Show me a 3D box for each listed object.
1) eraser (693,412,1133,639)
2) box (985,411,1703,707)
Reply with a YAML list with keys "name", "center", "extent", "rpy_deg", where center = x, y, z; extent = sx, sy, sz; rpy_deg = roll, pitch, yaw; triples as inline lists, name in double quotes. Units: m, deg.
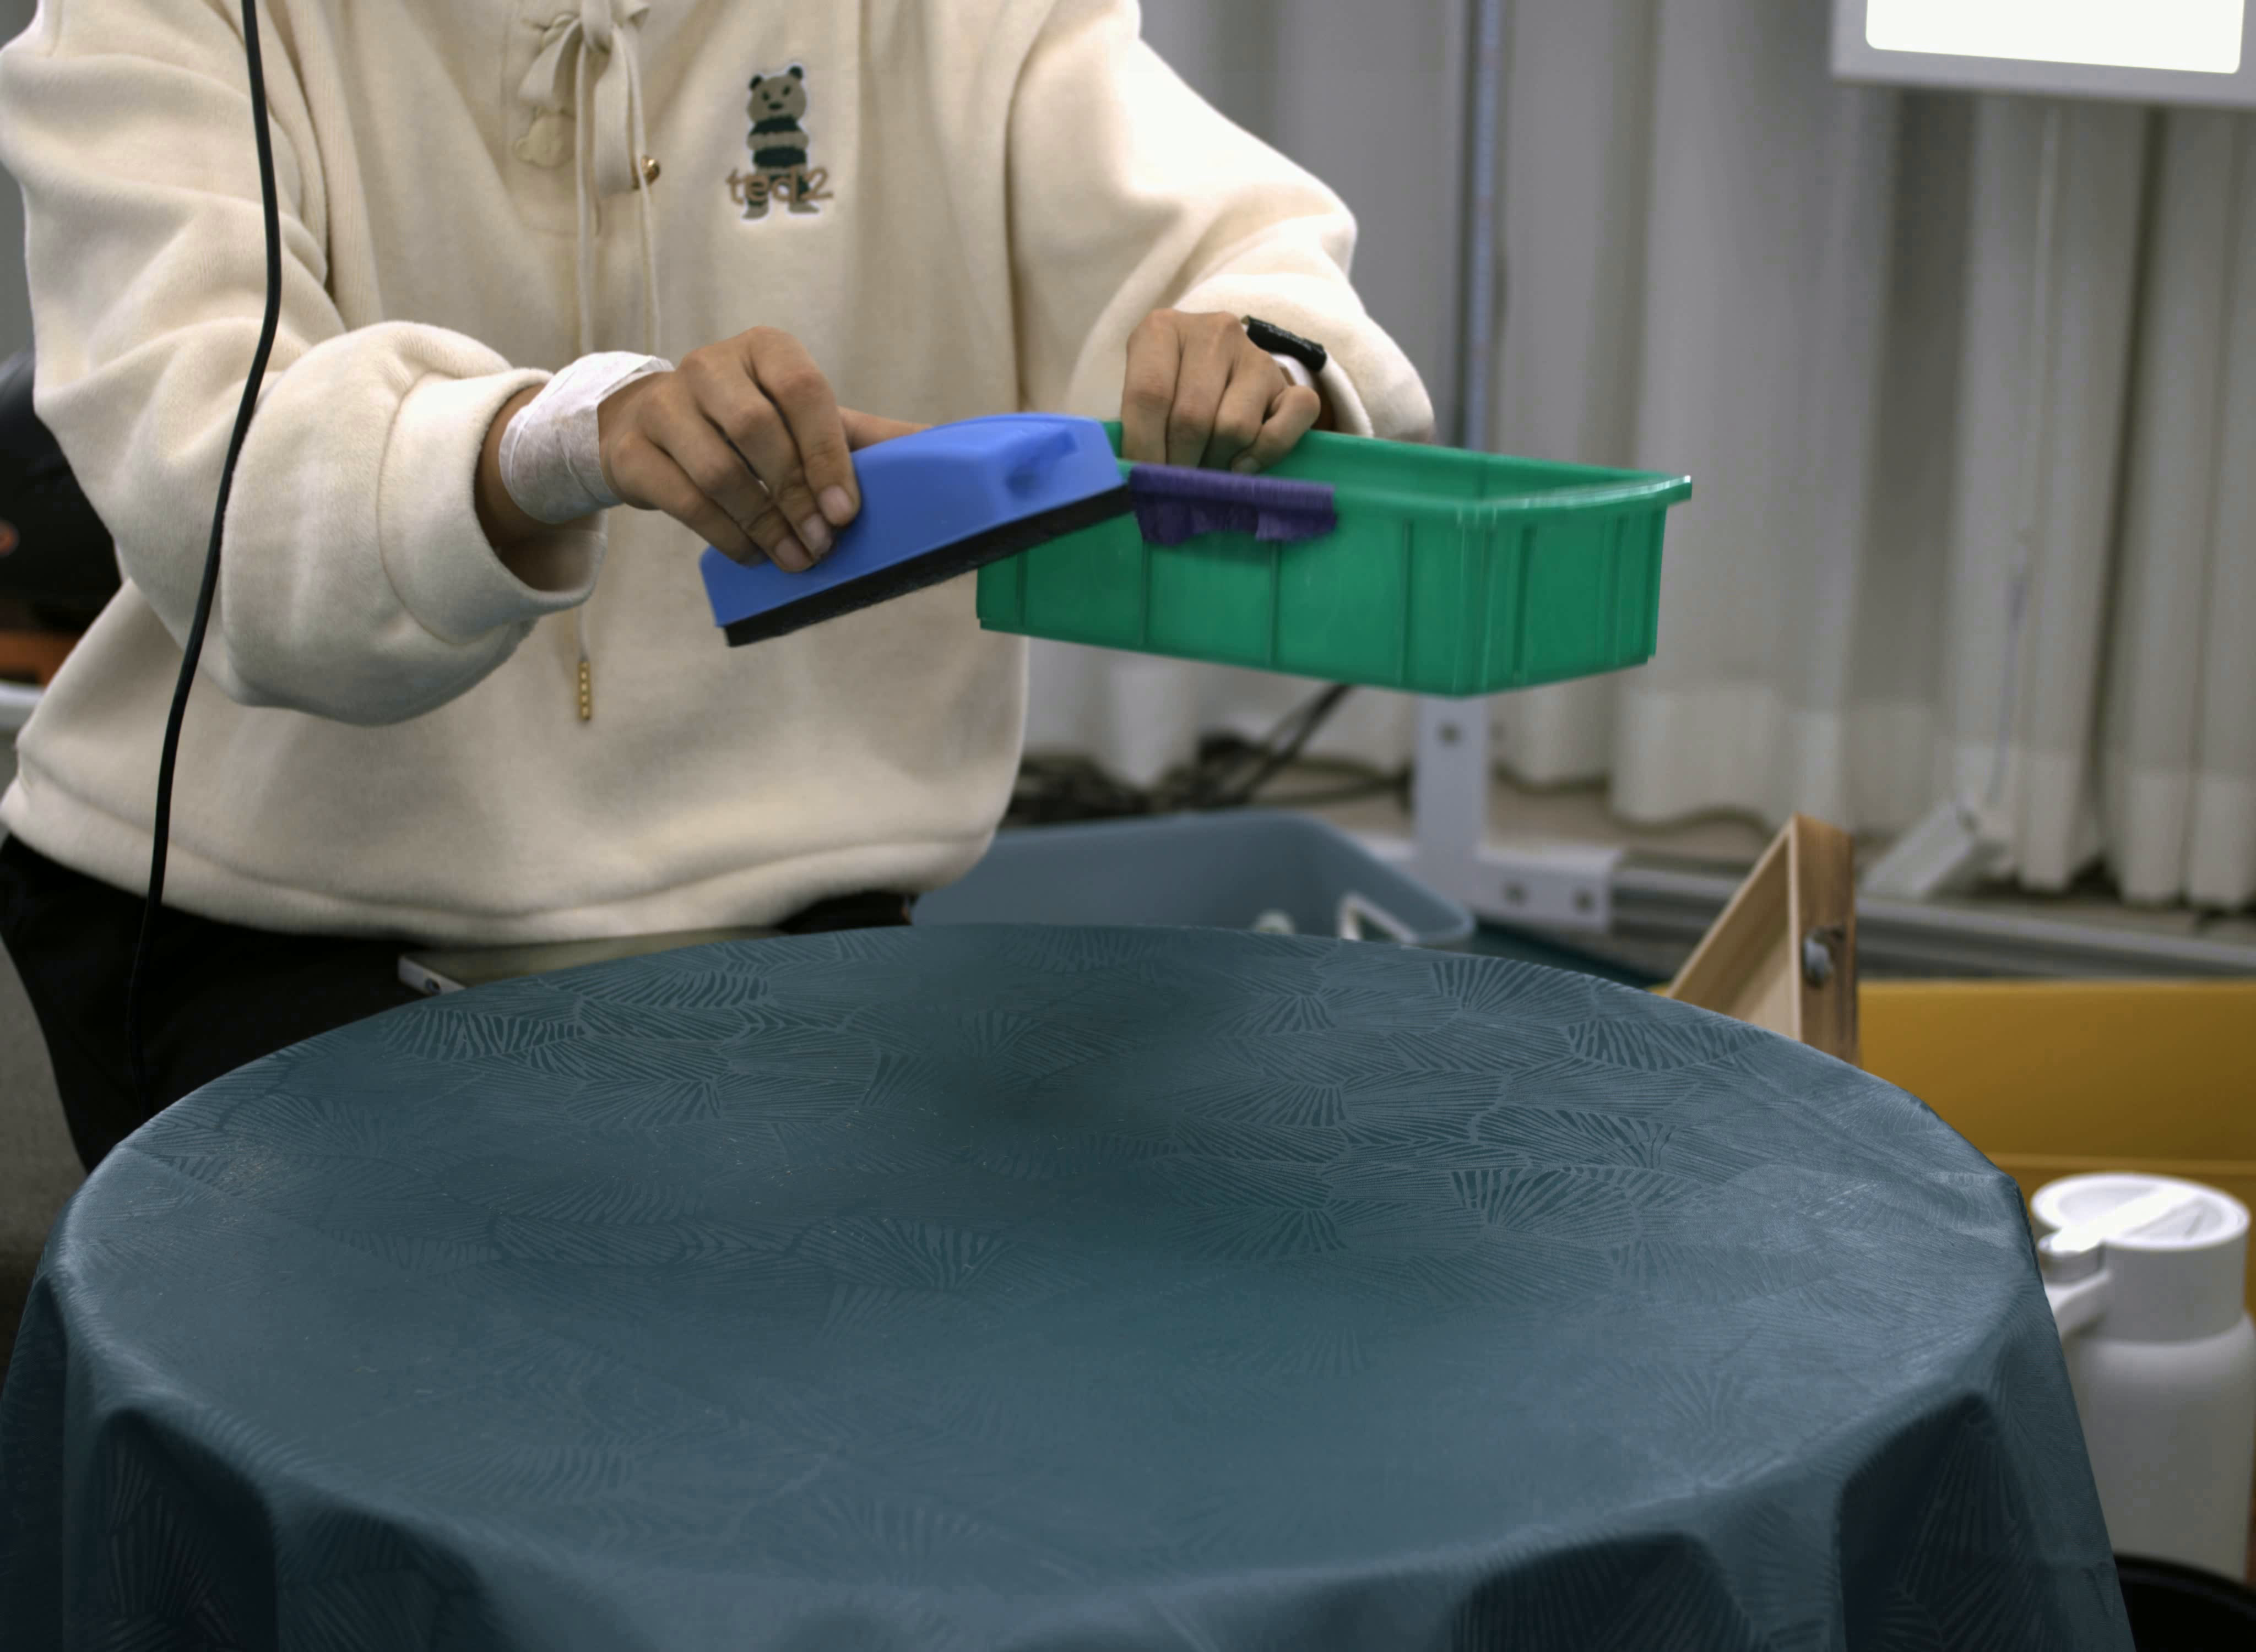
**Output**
- name: "eraser"
  center: [-0.070, -0.097, 1.631]
  extent: [0.054, 0.048, 0.161]
  rpy_deg: [-19, 3, -43]
- name: "box"
  center: [0.063, -0.085, 1.658]
  extent: [0.208, 0.066, 0.139]
  rpy_deg: [11, 15, 31]
